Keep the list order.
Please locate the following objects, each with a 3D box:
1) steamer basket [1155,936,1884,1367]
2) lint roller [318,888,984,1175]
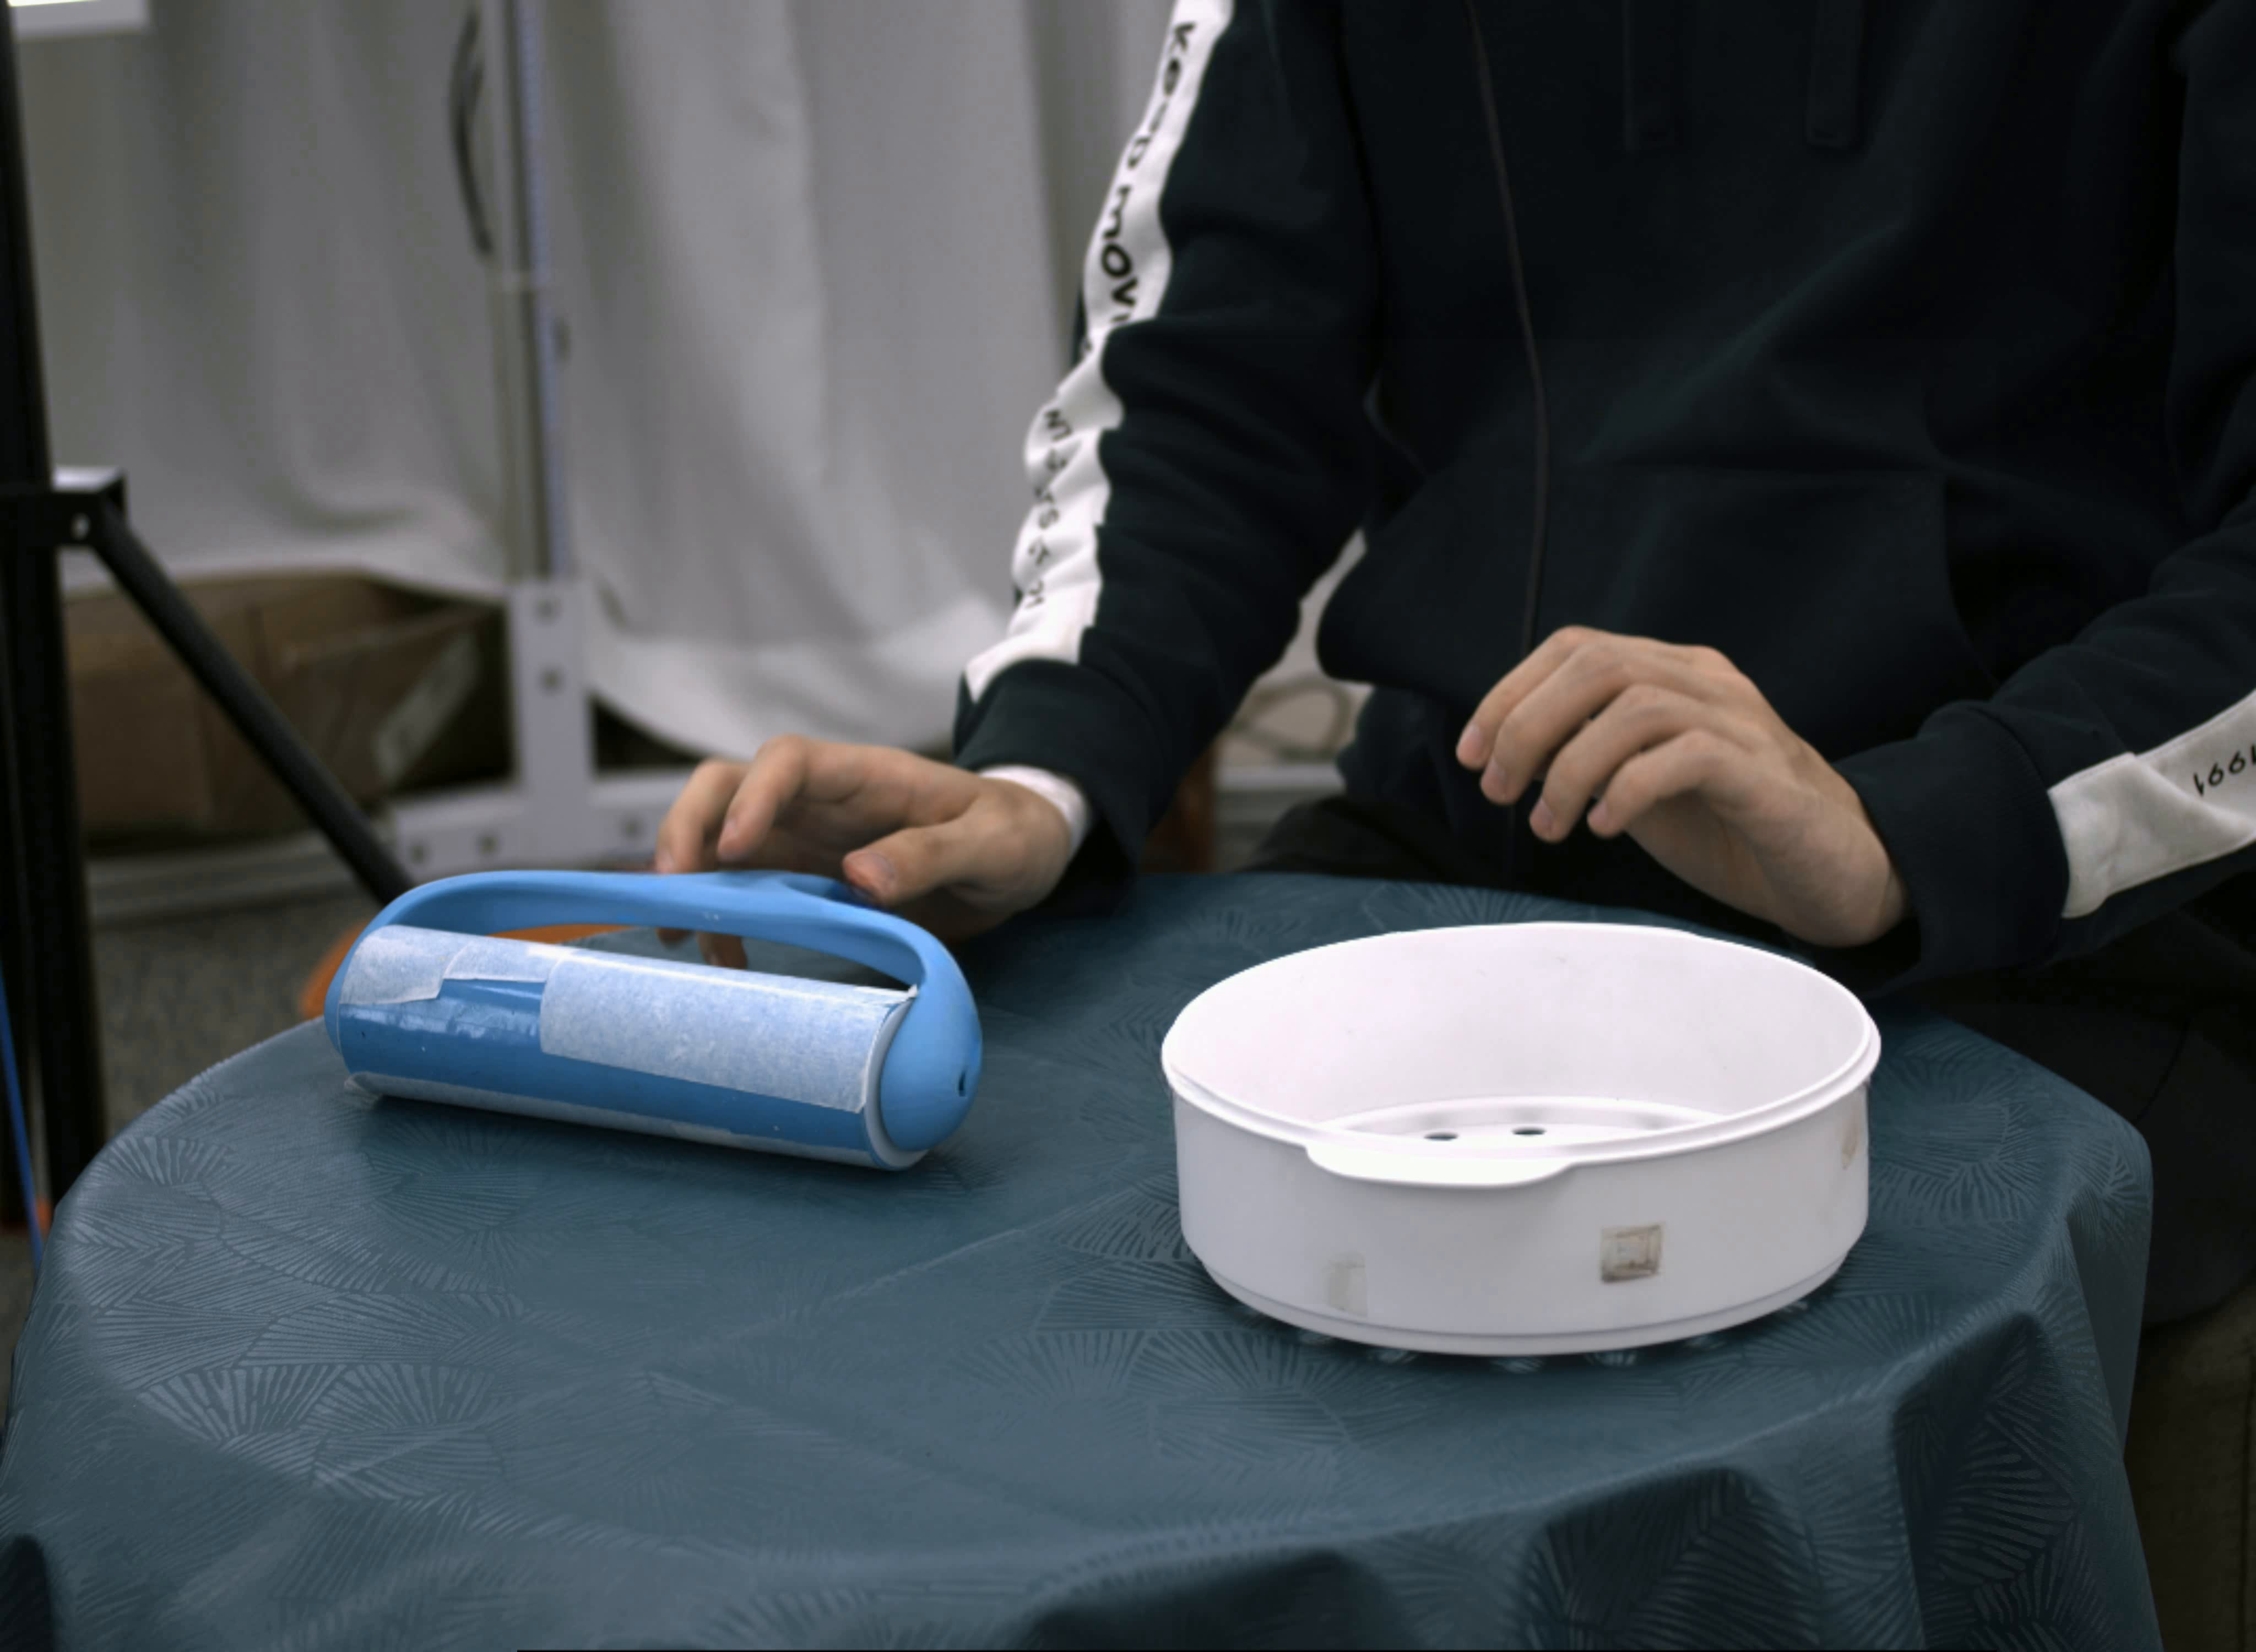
[{"bbox_3d":[0.109,0.090,1.478,0.204,0.069,0.228,3,16,18],"label":"steamer basket"},{"bbox_3d":[-0.125,0.050,1.676,0.232,0.068,0.178,2,20,26],"label":"lint roller"}]
